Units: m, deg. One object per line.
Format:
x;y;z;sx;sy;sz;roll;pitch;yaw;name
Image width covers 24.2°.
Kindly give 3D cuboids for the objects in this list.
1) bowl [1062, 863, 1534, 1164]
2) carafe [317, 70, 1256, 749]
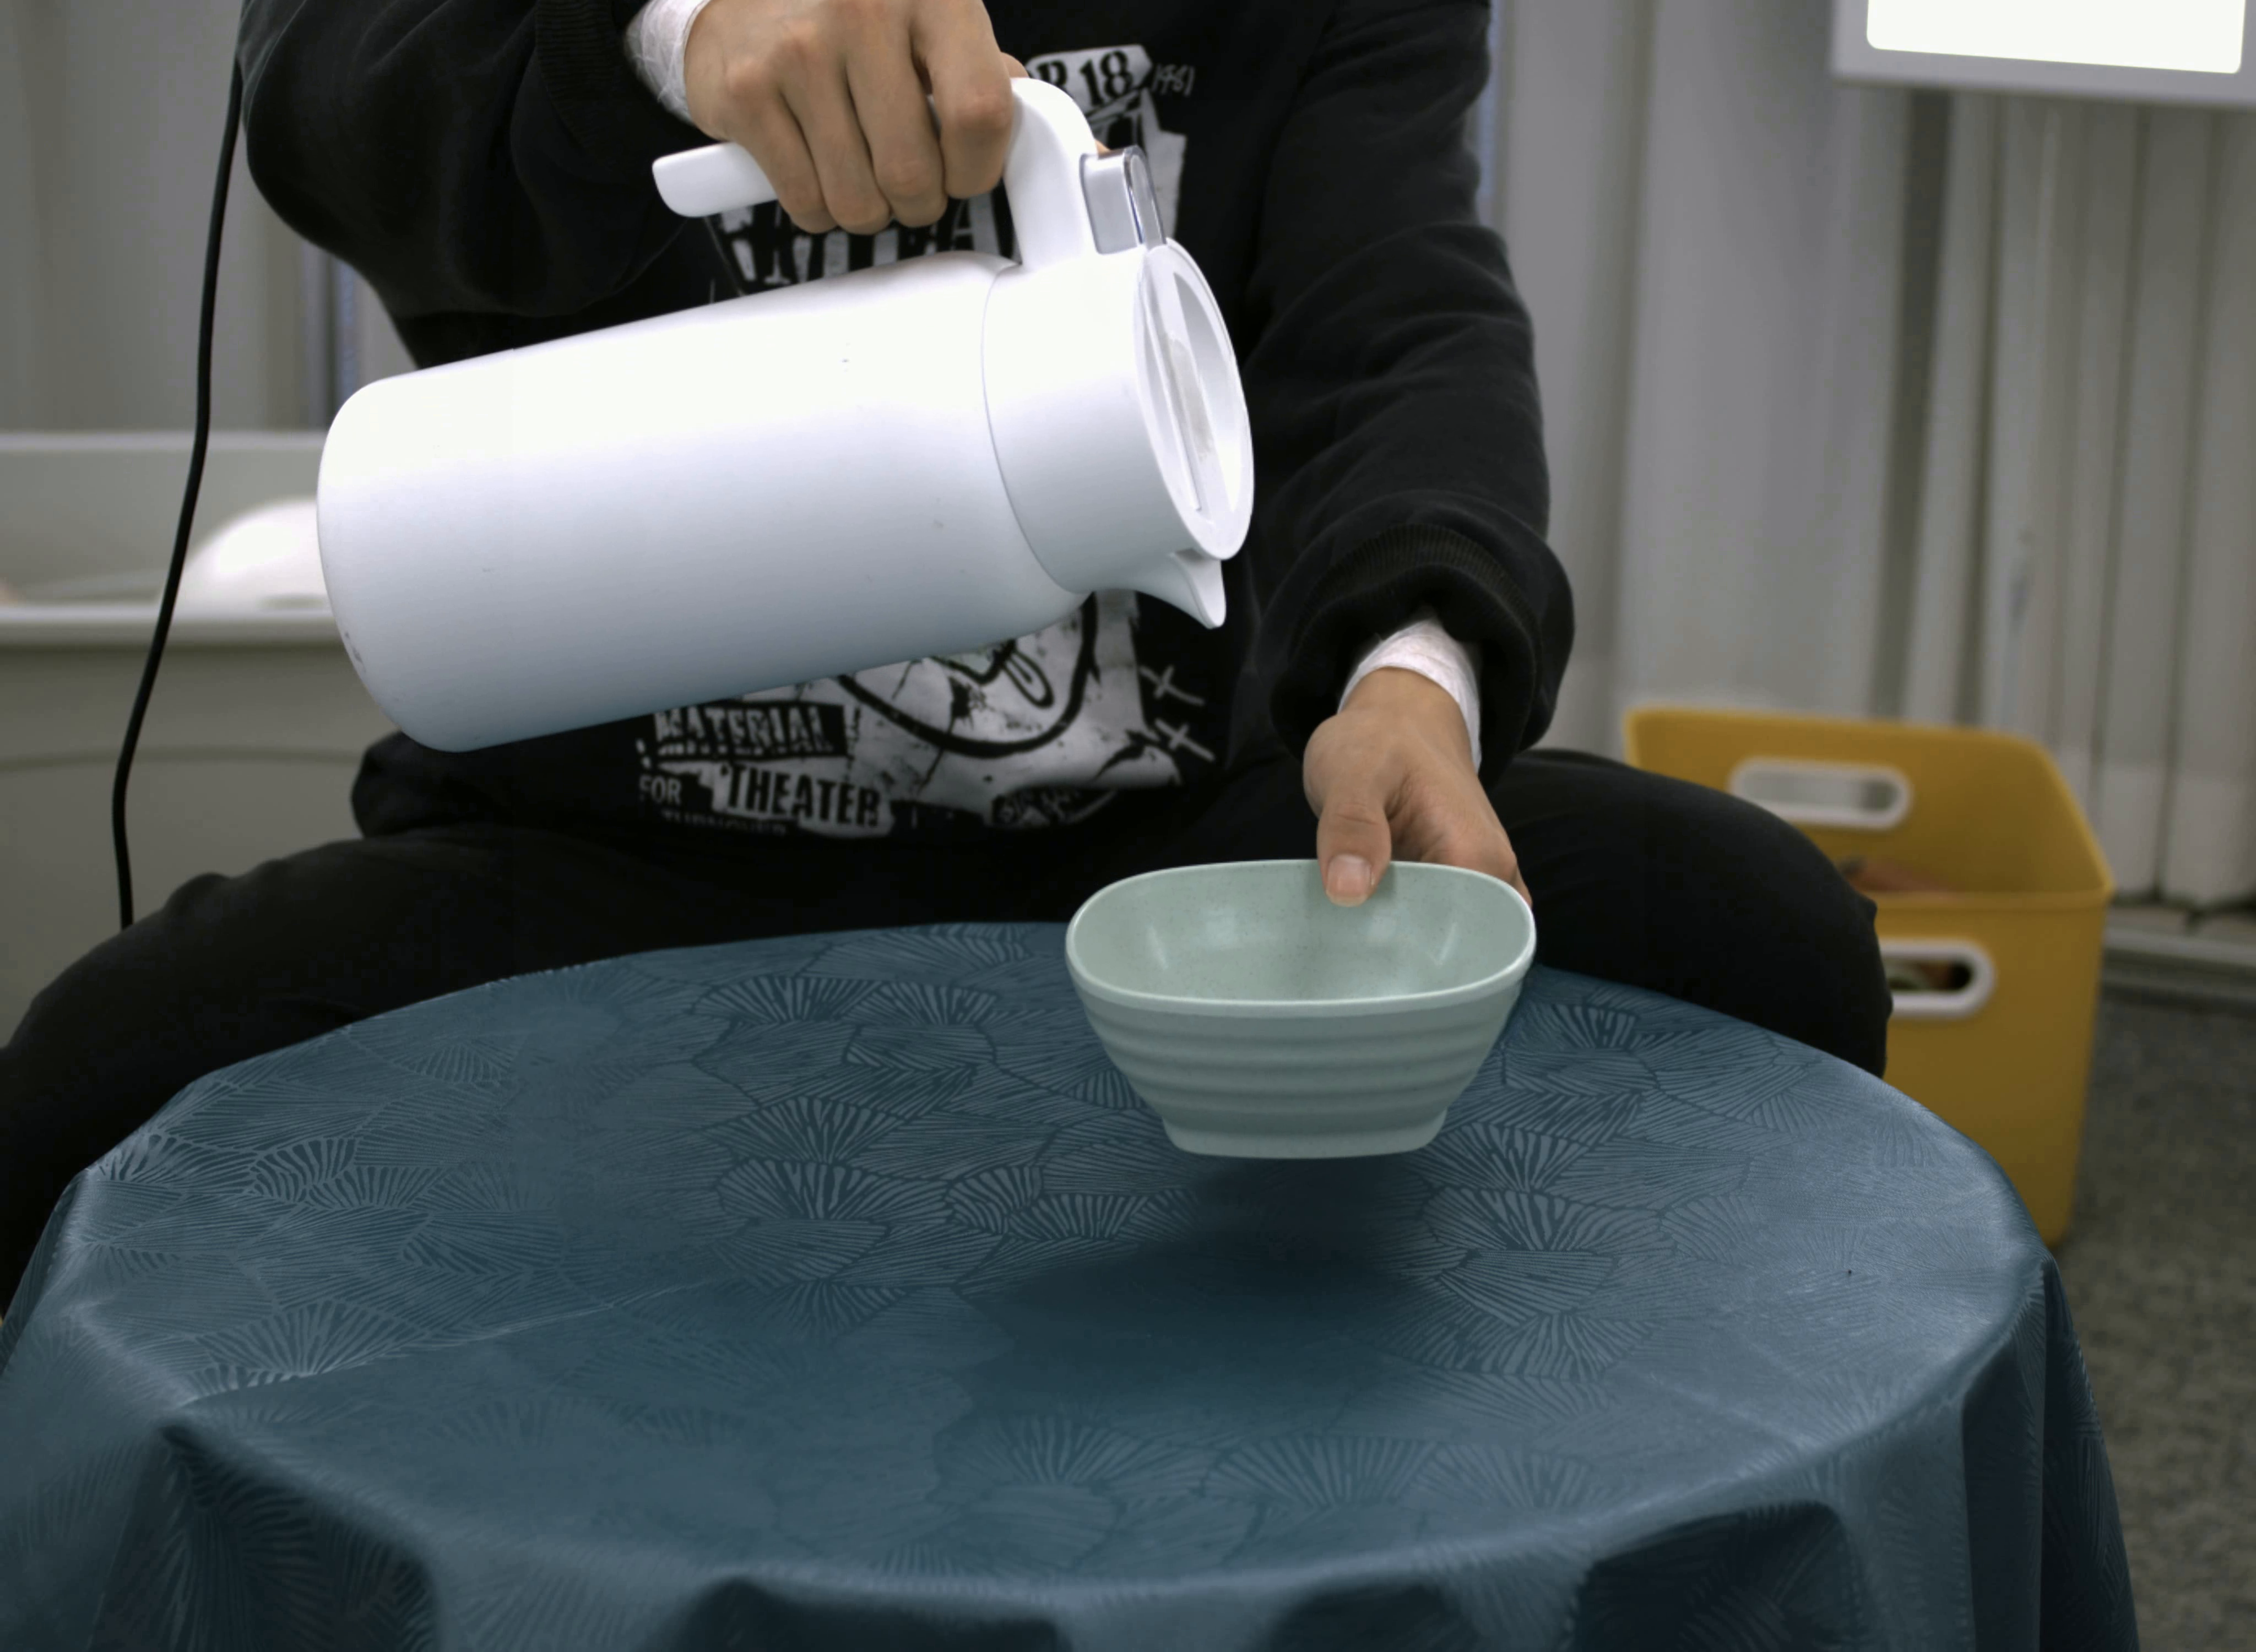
0.051;0.058;1.553;0.151;0.059;0.150;-1;17;1;bowl
-0.106;-0.119;1.567;0.267;0.174;0.124;-11;11;21;carafe
